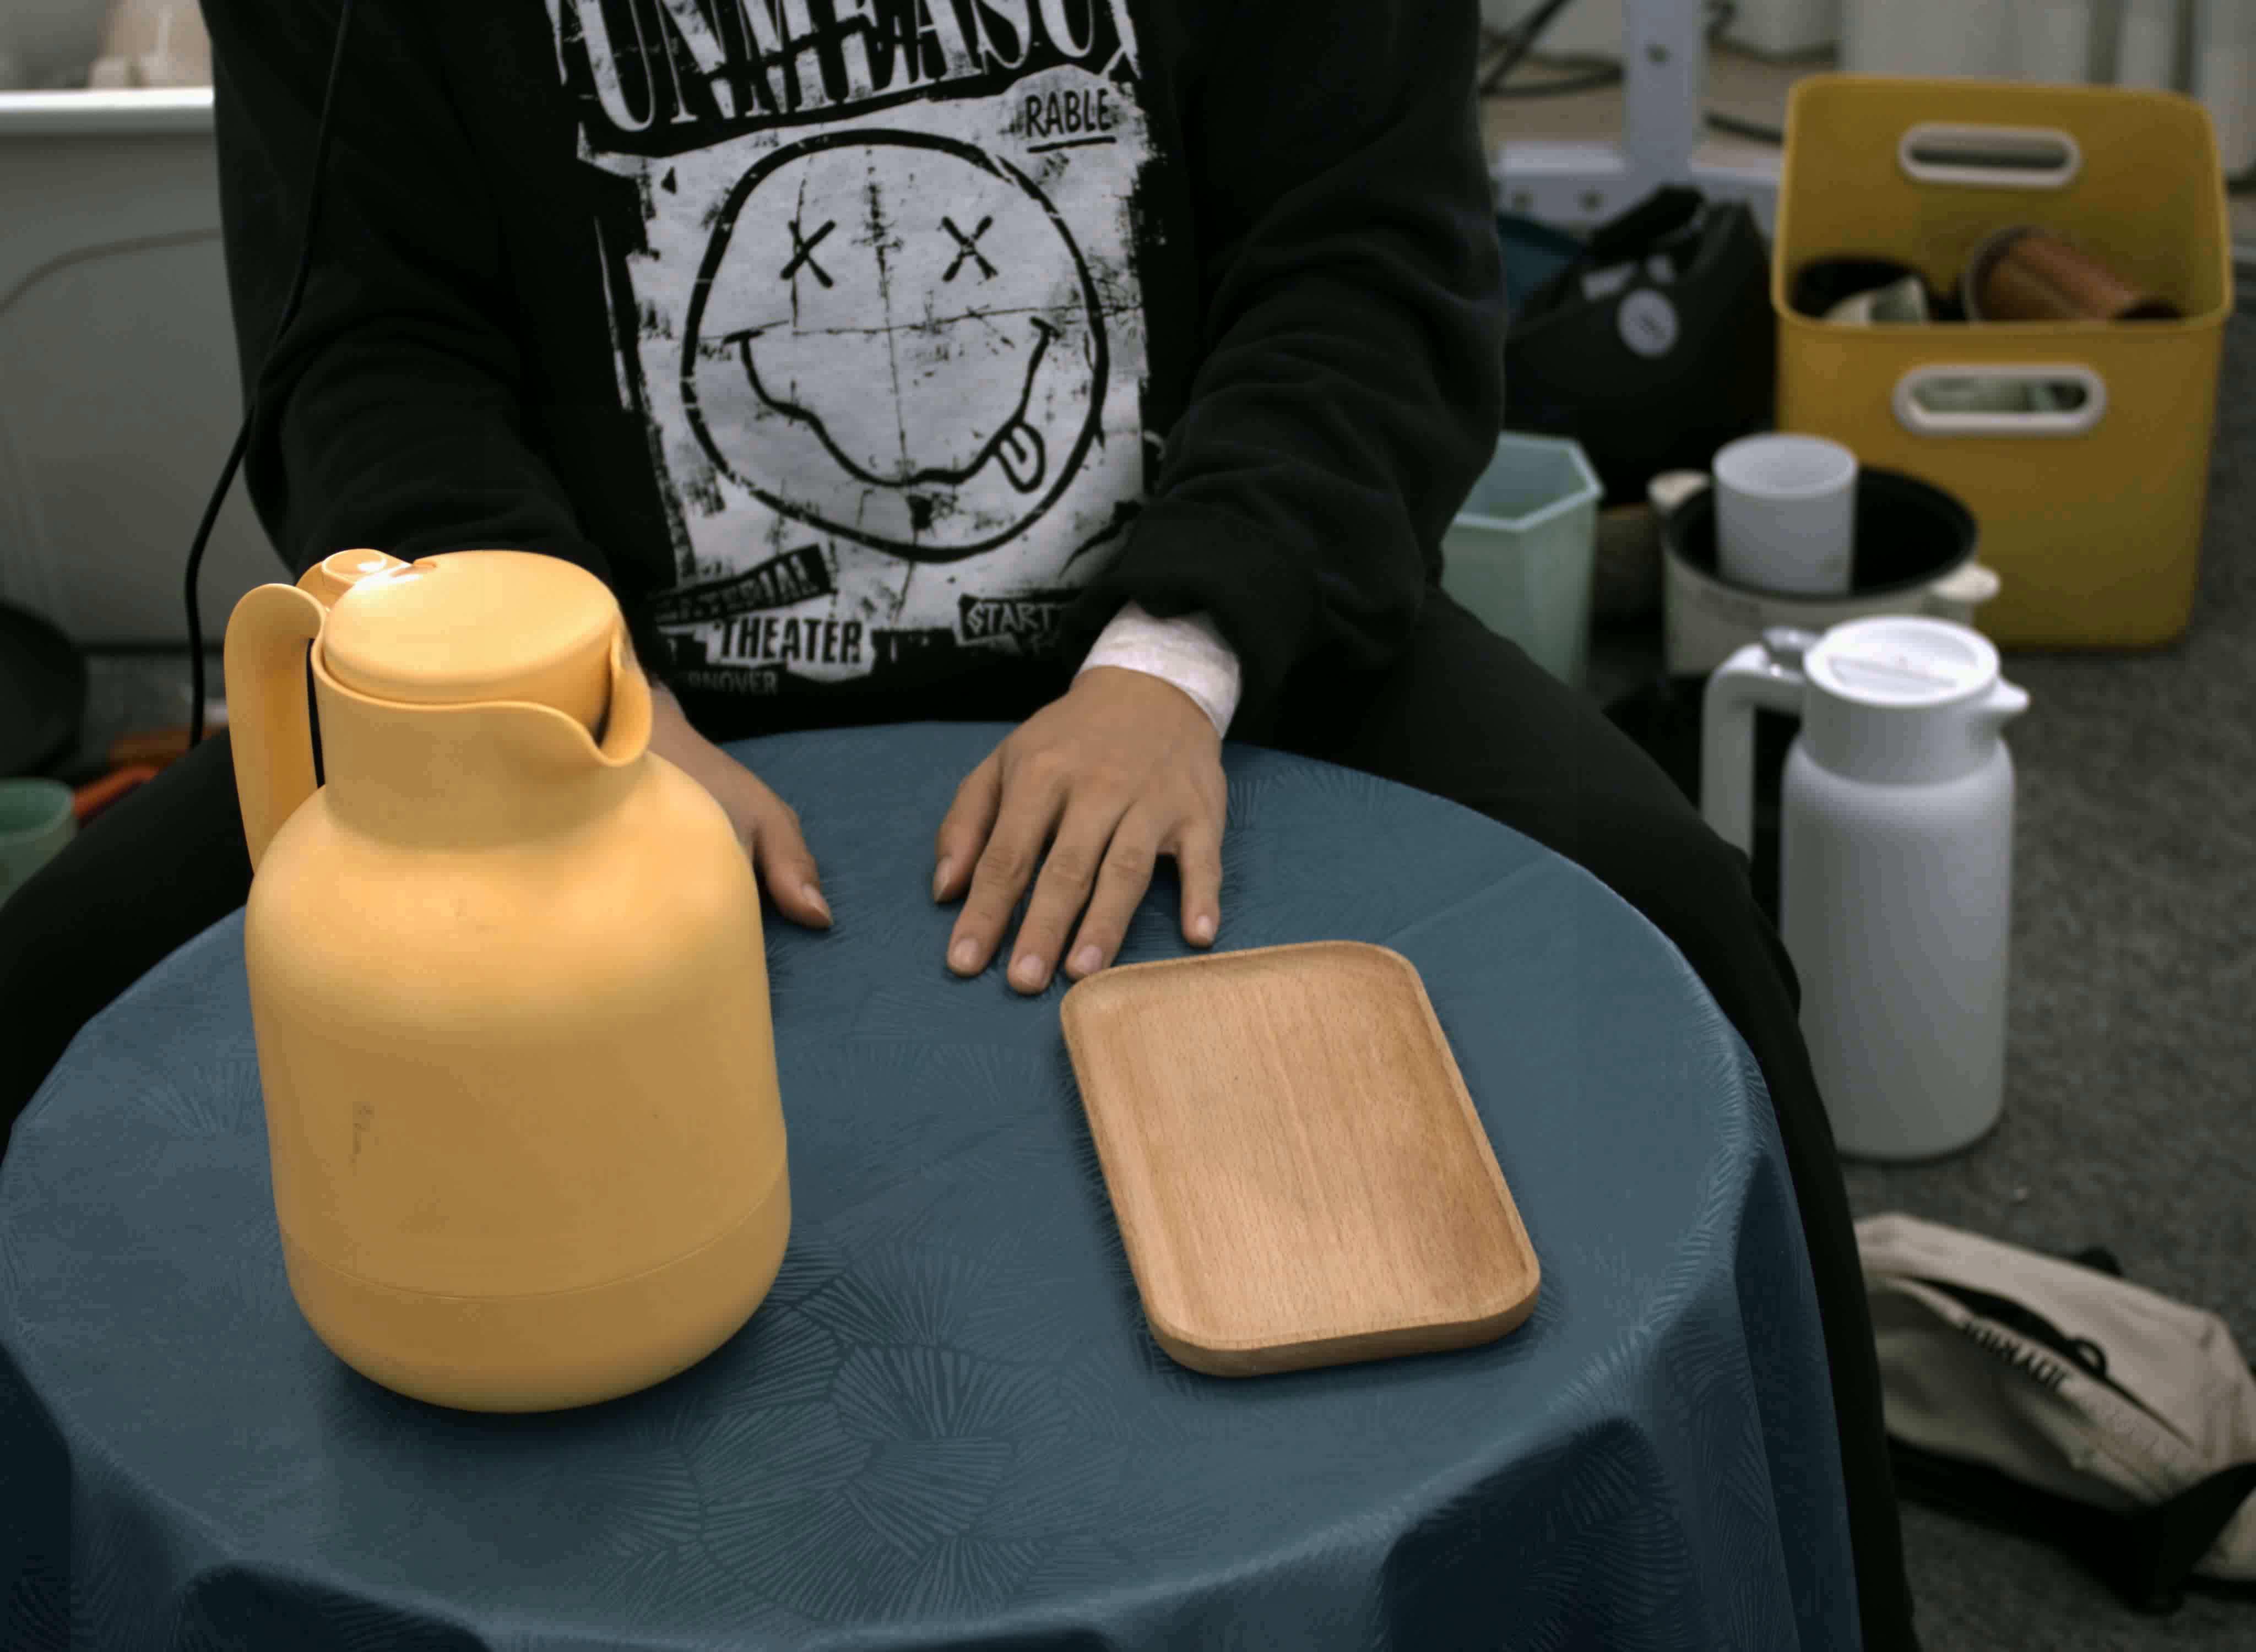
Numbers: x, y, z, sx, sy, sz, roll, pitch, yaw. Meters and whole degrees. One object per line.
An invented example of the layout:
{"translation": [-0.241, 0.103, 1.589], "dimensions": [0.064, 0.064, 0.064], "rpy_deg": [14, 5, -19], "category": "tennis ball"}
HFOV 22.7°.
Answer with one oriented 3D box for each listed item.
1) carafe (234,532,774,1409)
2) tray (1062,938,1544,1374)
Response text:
{"translation": [-0.207, 0.035, 1.765], "dimensions": [0.165, 0.257, 0.202], "rpy_deg": [-21, 33, -37], "category": "carafe"}
{"translation": [0.054, 0.107, 1.864], "dimensions": [0.130, 0.022, 0.254], "rpy_deg": [-4, 27, -7], "category": "tray"}
